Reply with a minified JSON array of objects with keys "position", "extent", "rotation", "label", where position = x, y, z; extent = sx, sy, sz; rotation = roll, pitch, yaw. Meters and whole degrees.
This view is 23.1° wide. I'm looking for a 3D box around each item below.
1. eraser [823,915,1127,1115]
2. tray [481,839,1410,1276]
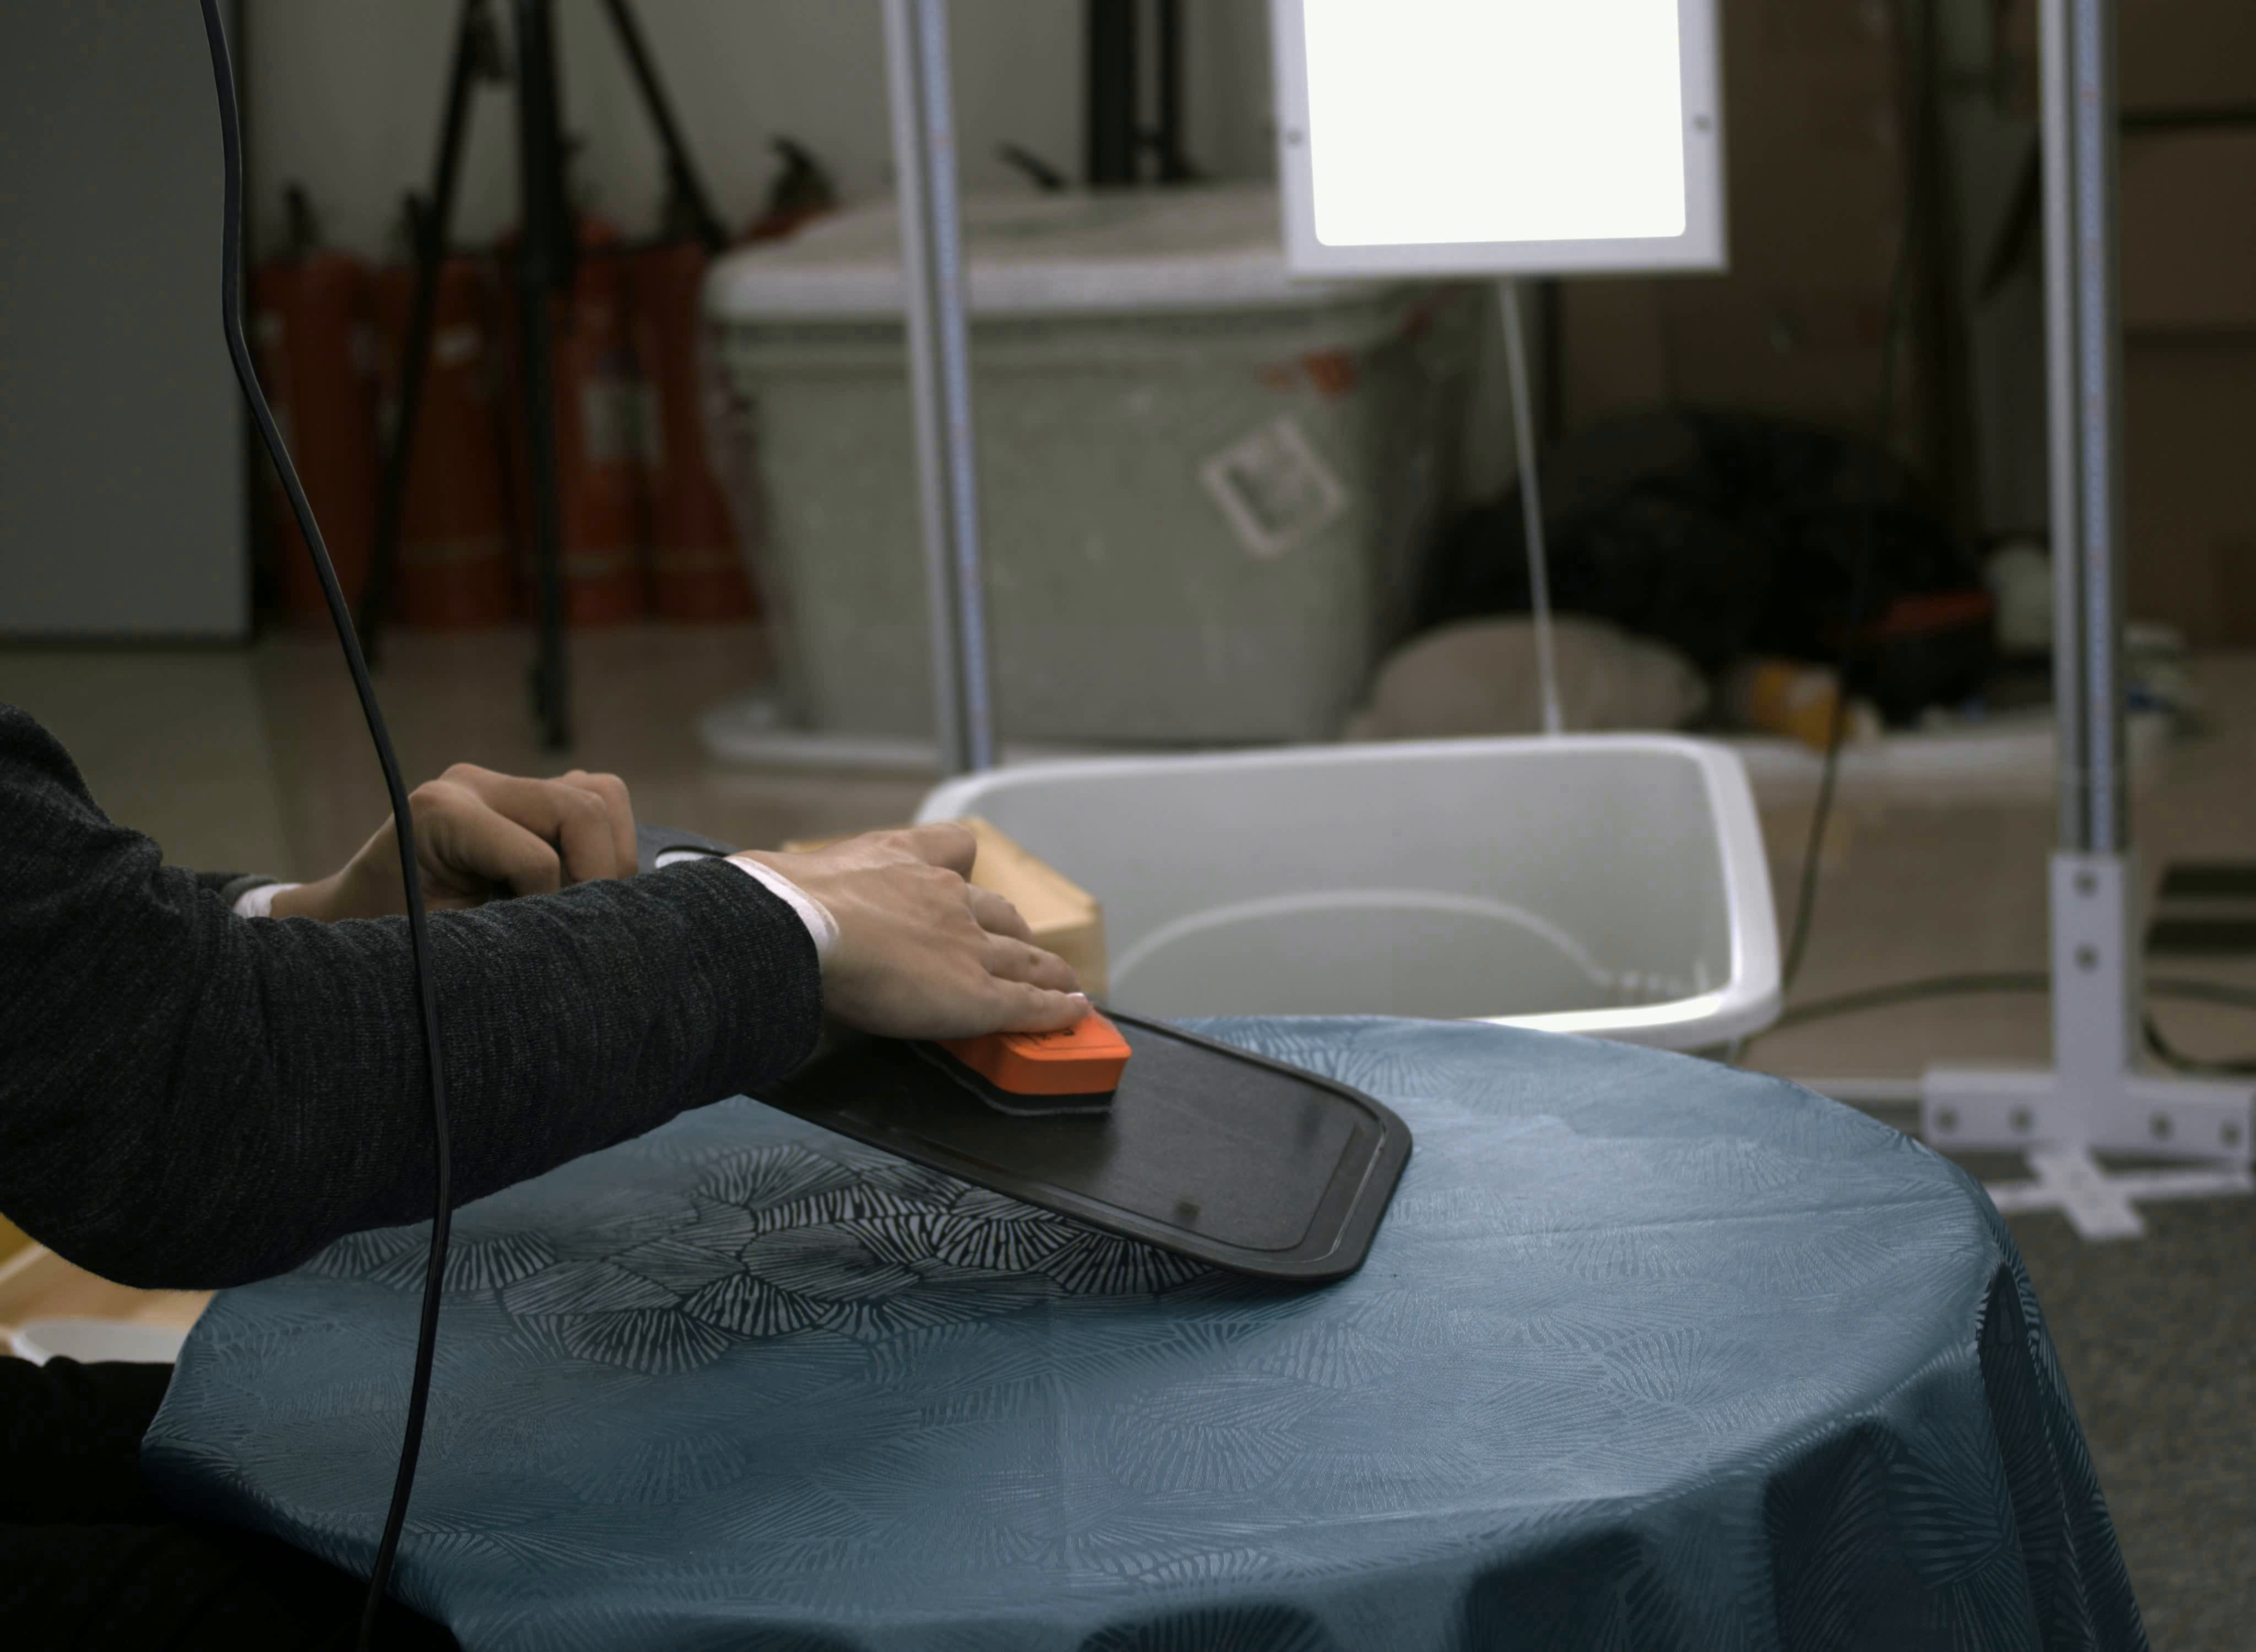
[{"position":[-0.053,0.064,1.885],"extent":[0.057,0.023,0.110],"rotation":[-1,26,-43],"label":"eraser"},{"position":[-0.064,0.072,1.879],"extent":[0.326,0.010,0.208],"rotation":[20,17,8],"label":"tray"}]
